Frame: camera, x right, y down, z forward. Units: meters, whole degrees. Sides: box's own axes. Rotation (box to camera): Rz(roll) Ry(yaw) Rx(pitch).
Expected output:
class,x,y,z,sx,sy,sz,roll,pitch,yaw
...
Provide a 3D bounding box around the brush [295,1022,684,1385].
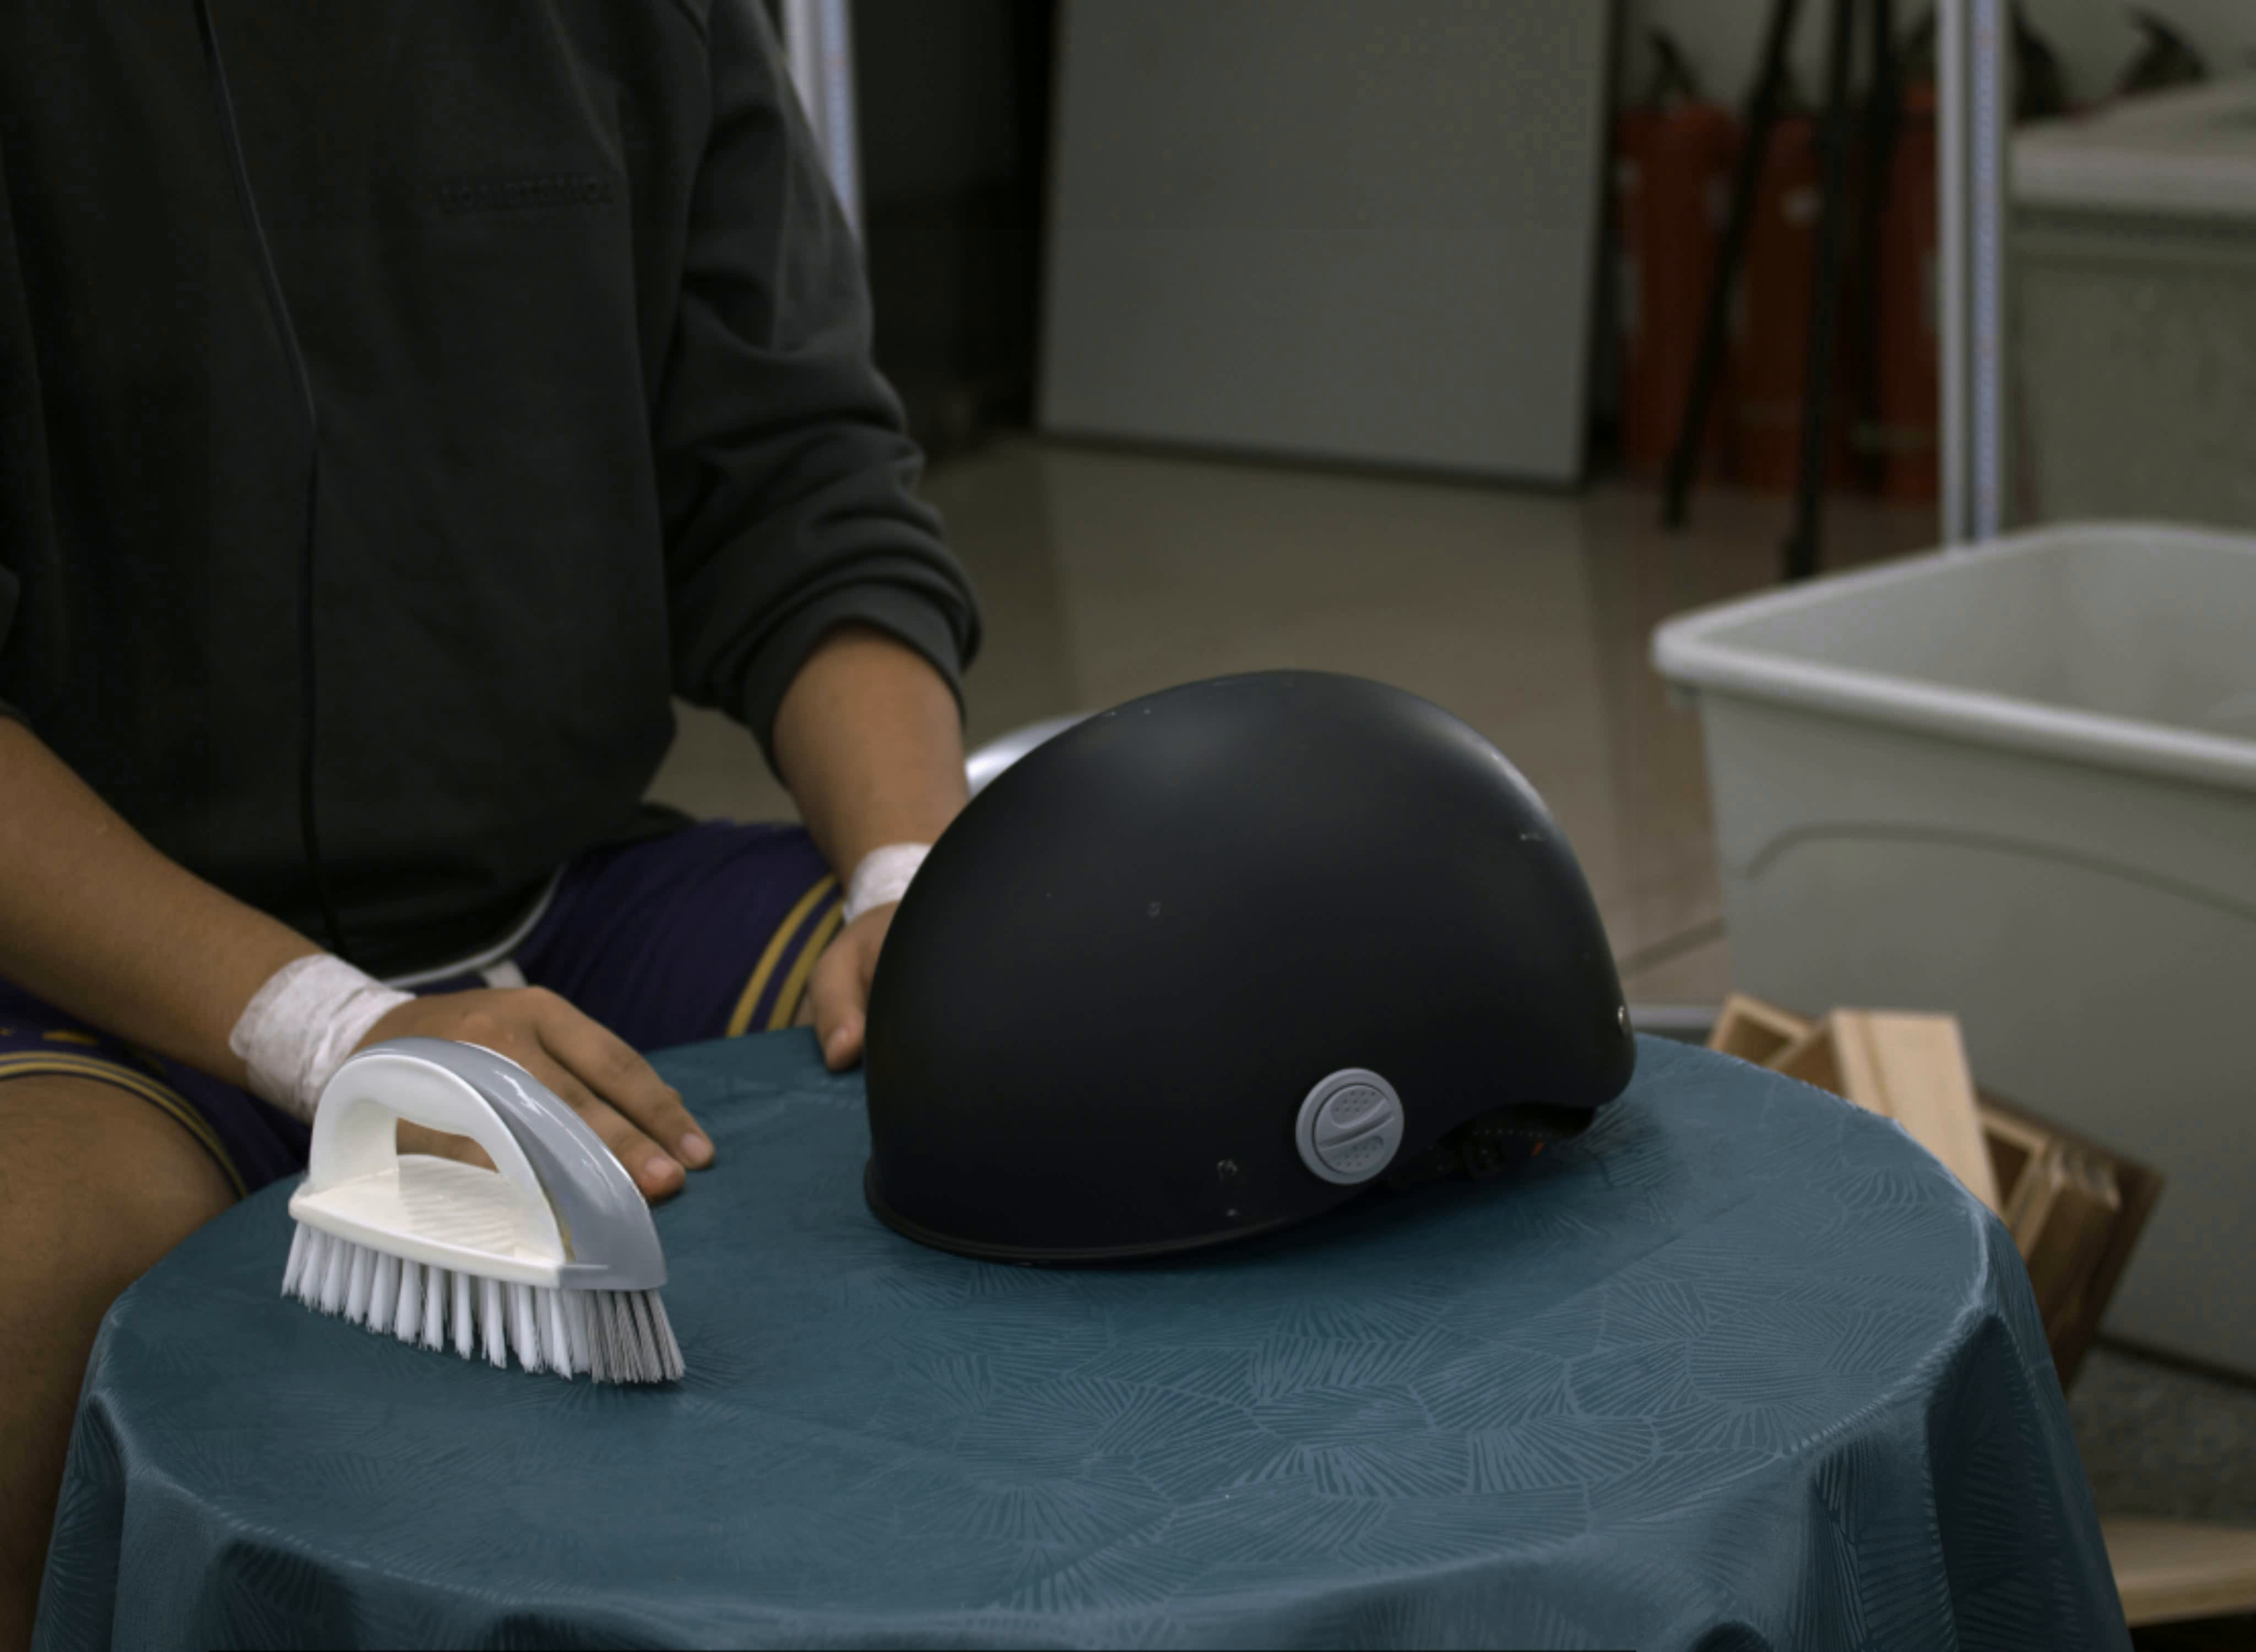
class,x,y,z,sx,sy,sz,roll,pitch,yaw
brush,-0.194,0.113,1.667,0.060,0.095,0.177,-16,20,-38

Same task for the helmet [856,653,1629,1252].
class,x,y,z,sx,sy,sz,roll,pitch,yaw
helmet,0.033,0.032,1.785,0.267,0.168,0.232,-14,16,-31
